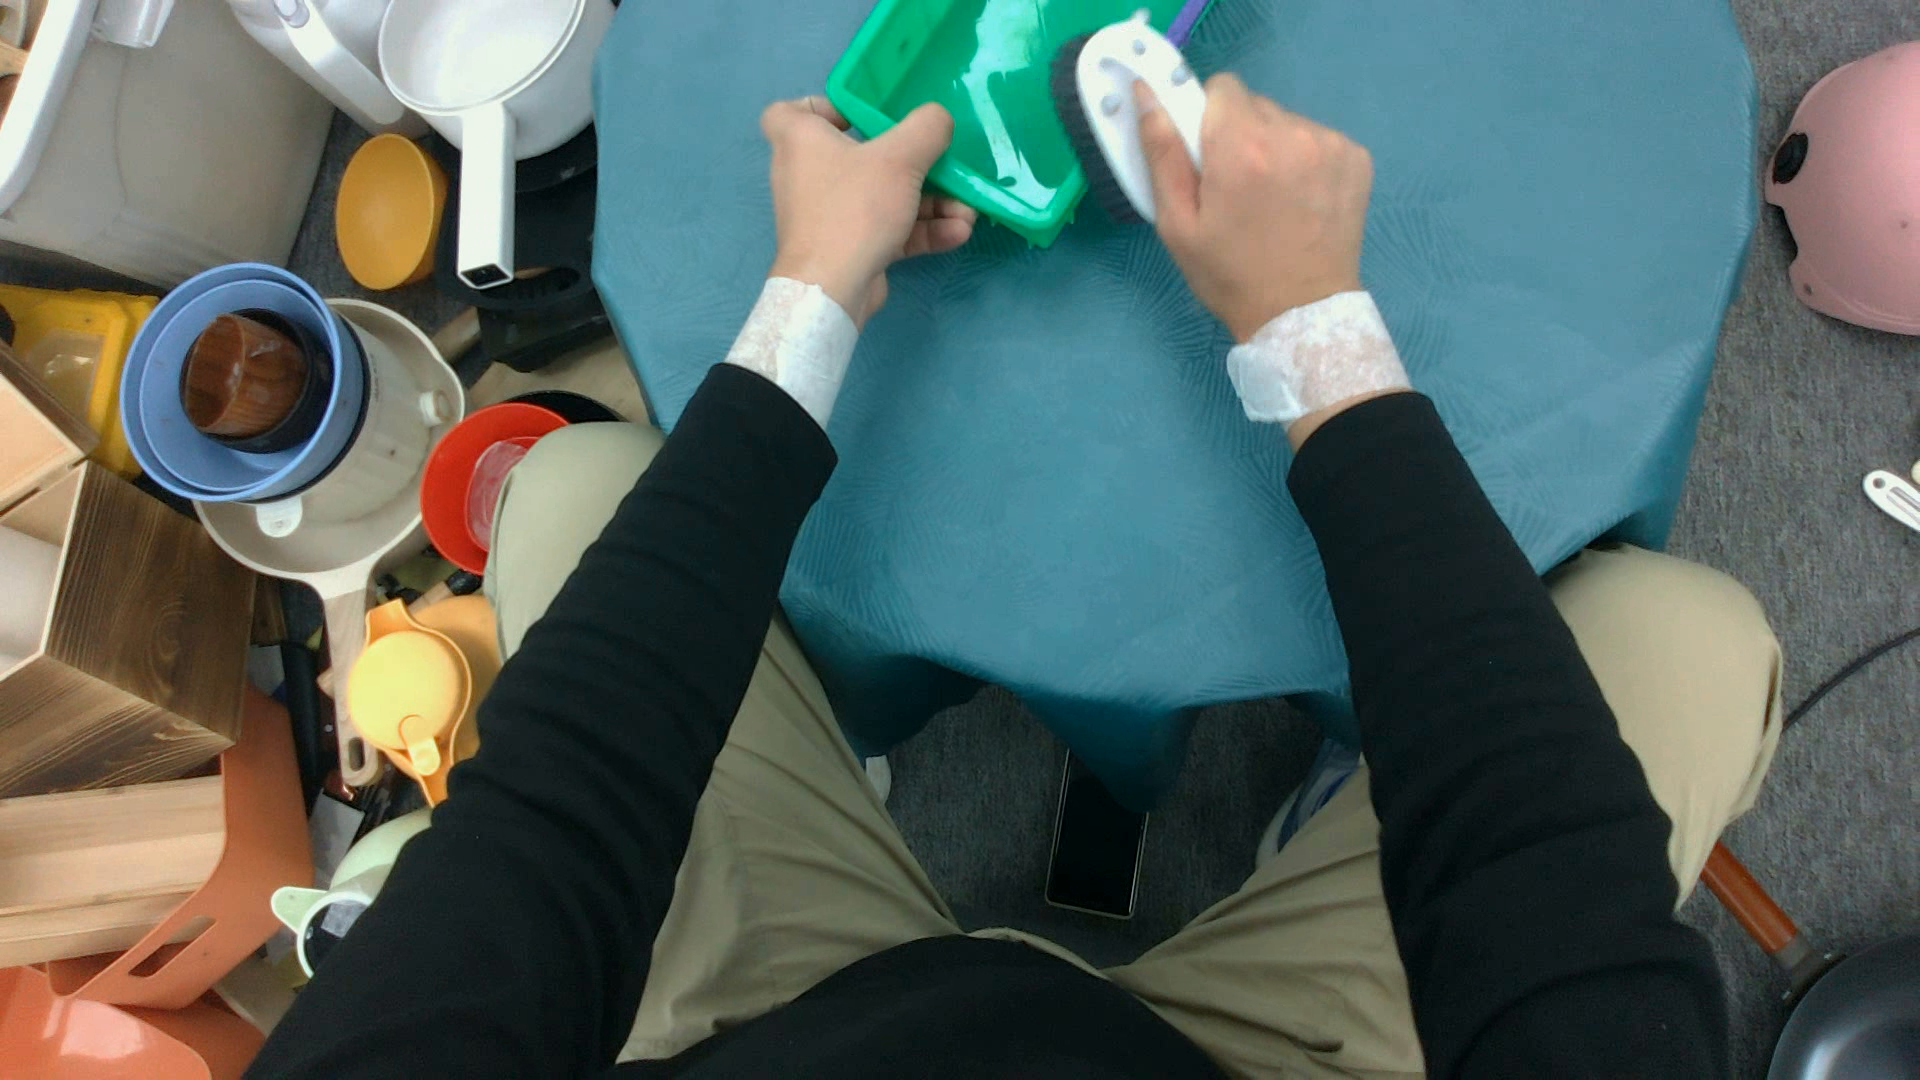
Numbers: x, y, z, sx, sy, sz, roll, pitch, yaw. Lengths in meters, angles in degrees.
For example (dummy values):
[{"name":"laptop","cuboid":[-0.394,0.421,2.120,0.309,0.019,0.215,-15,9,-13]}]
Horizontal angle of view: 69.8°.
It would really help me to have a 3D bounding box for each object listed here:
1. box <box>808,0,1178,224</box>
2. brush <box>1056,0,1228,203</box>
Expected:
[{"name":"box","cuboid":[0.033,-0.273,0.703,0.138,0.065,0.210,32,85,6]},{"name":"brush","cuboid":[0.091,-0.204,0.636,0.050,0.072,0.099,-31,117,-21]}]
